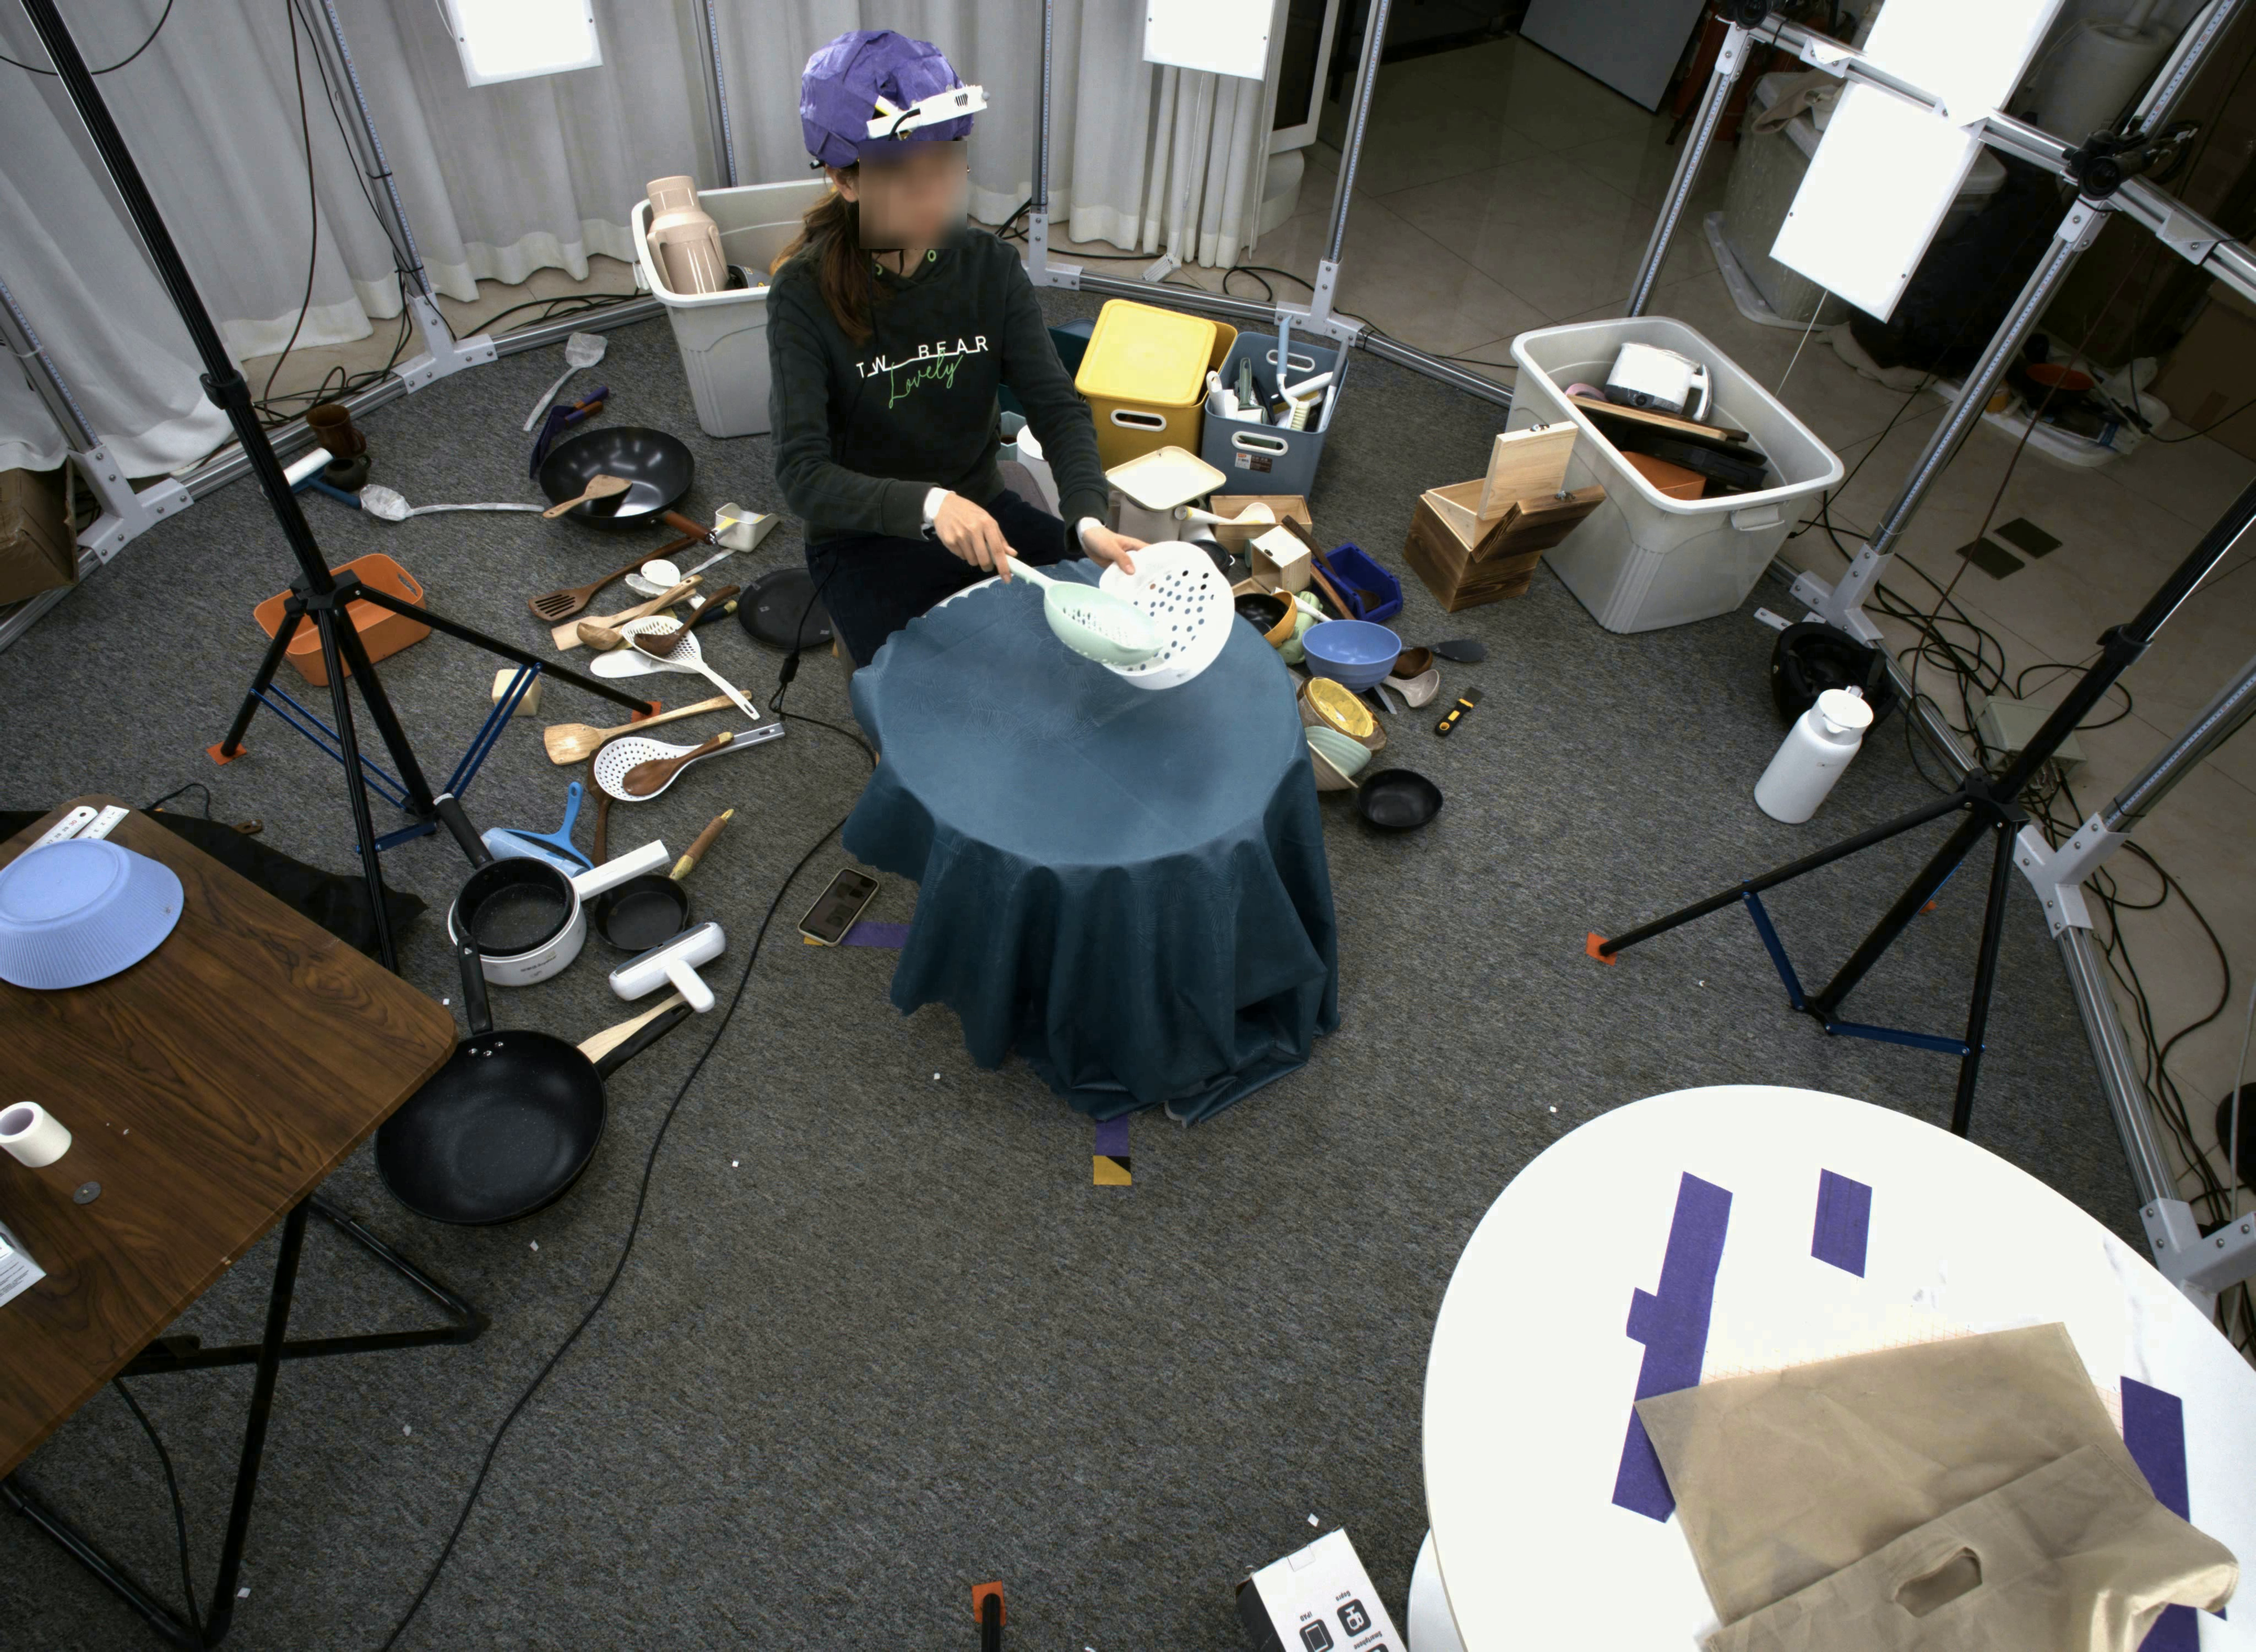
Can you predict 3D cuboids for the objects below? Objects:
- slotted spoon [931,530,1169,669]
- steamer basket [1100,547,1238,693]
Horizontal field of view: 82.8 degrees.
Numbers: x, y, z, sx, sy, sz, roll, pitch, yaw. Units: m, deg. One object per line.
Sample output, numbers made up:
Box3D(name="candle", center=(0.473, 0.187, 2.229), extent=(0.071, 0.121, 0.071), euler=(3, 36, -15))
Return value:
Box3D(name="slotted spoon", center=(-0.114, -0.314, 1.712), extent=(0.361, 0.074, 0.170), euler=(39, 28, 12))
Box3D(name="steamer basket", center=(0.053, -0.277, 1.743), extent=(0.201, 0.068, 0.235), euler=(-45, 50, 7))
